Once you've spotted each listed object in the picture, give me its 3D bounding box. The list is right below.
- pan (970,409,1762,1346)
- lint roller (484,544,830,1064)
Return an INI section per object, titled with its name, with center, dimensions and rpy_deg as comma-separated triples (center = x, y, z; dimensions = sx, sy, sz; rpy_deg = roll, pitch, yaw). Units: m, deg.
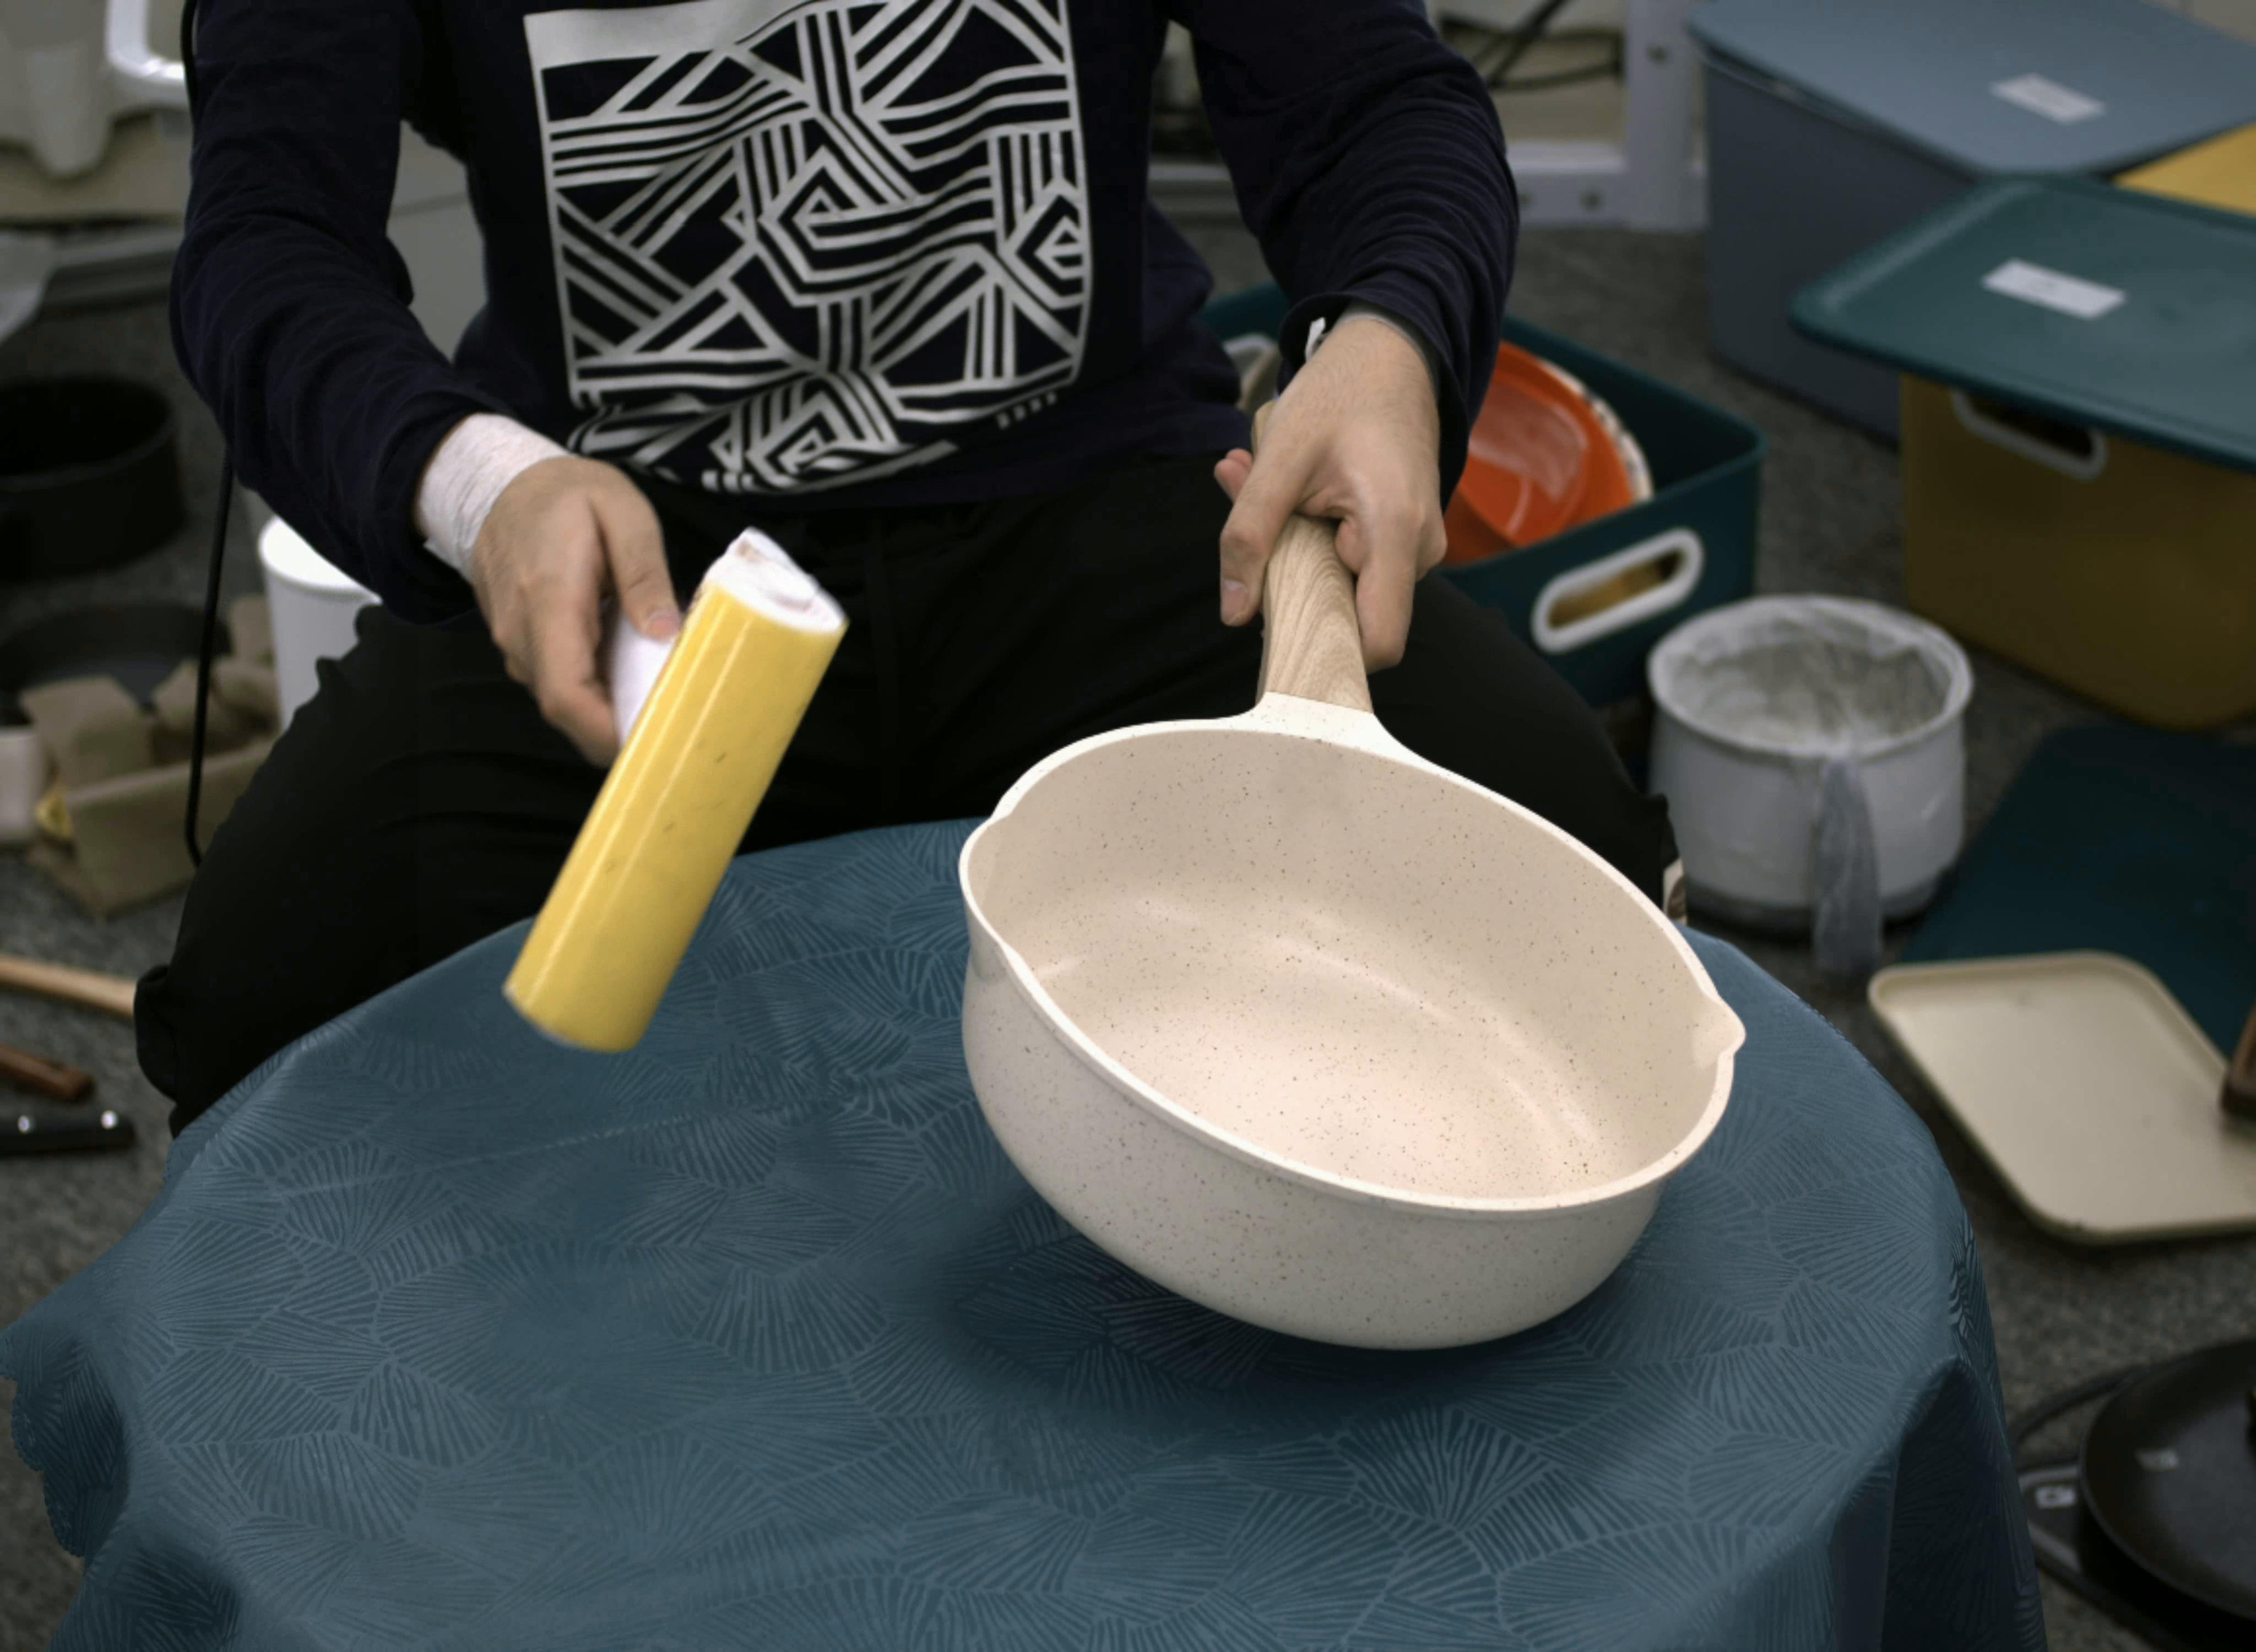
[pan]
center = 0.063, 0.014, 1.877
dimensions = 0.262, 0.100, 0.442
rpy_deg = 9, 32, -11
[lint roller]
center = -0.171, -0.036, 1.857
dimensions = 0.051, 0.173, 0.194
rpy_deg = 20, 20, -28
